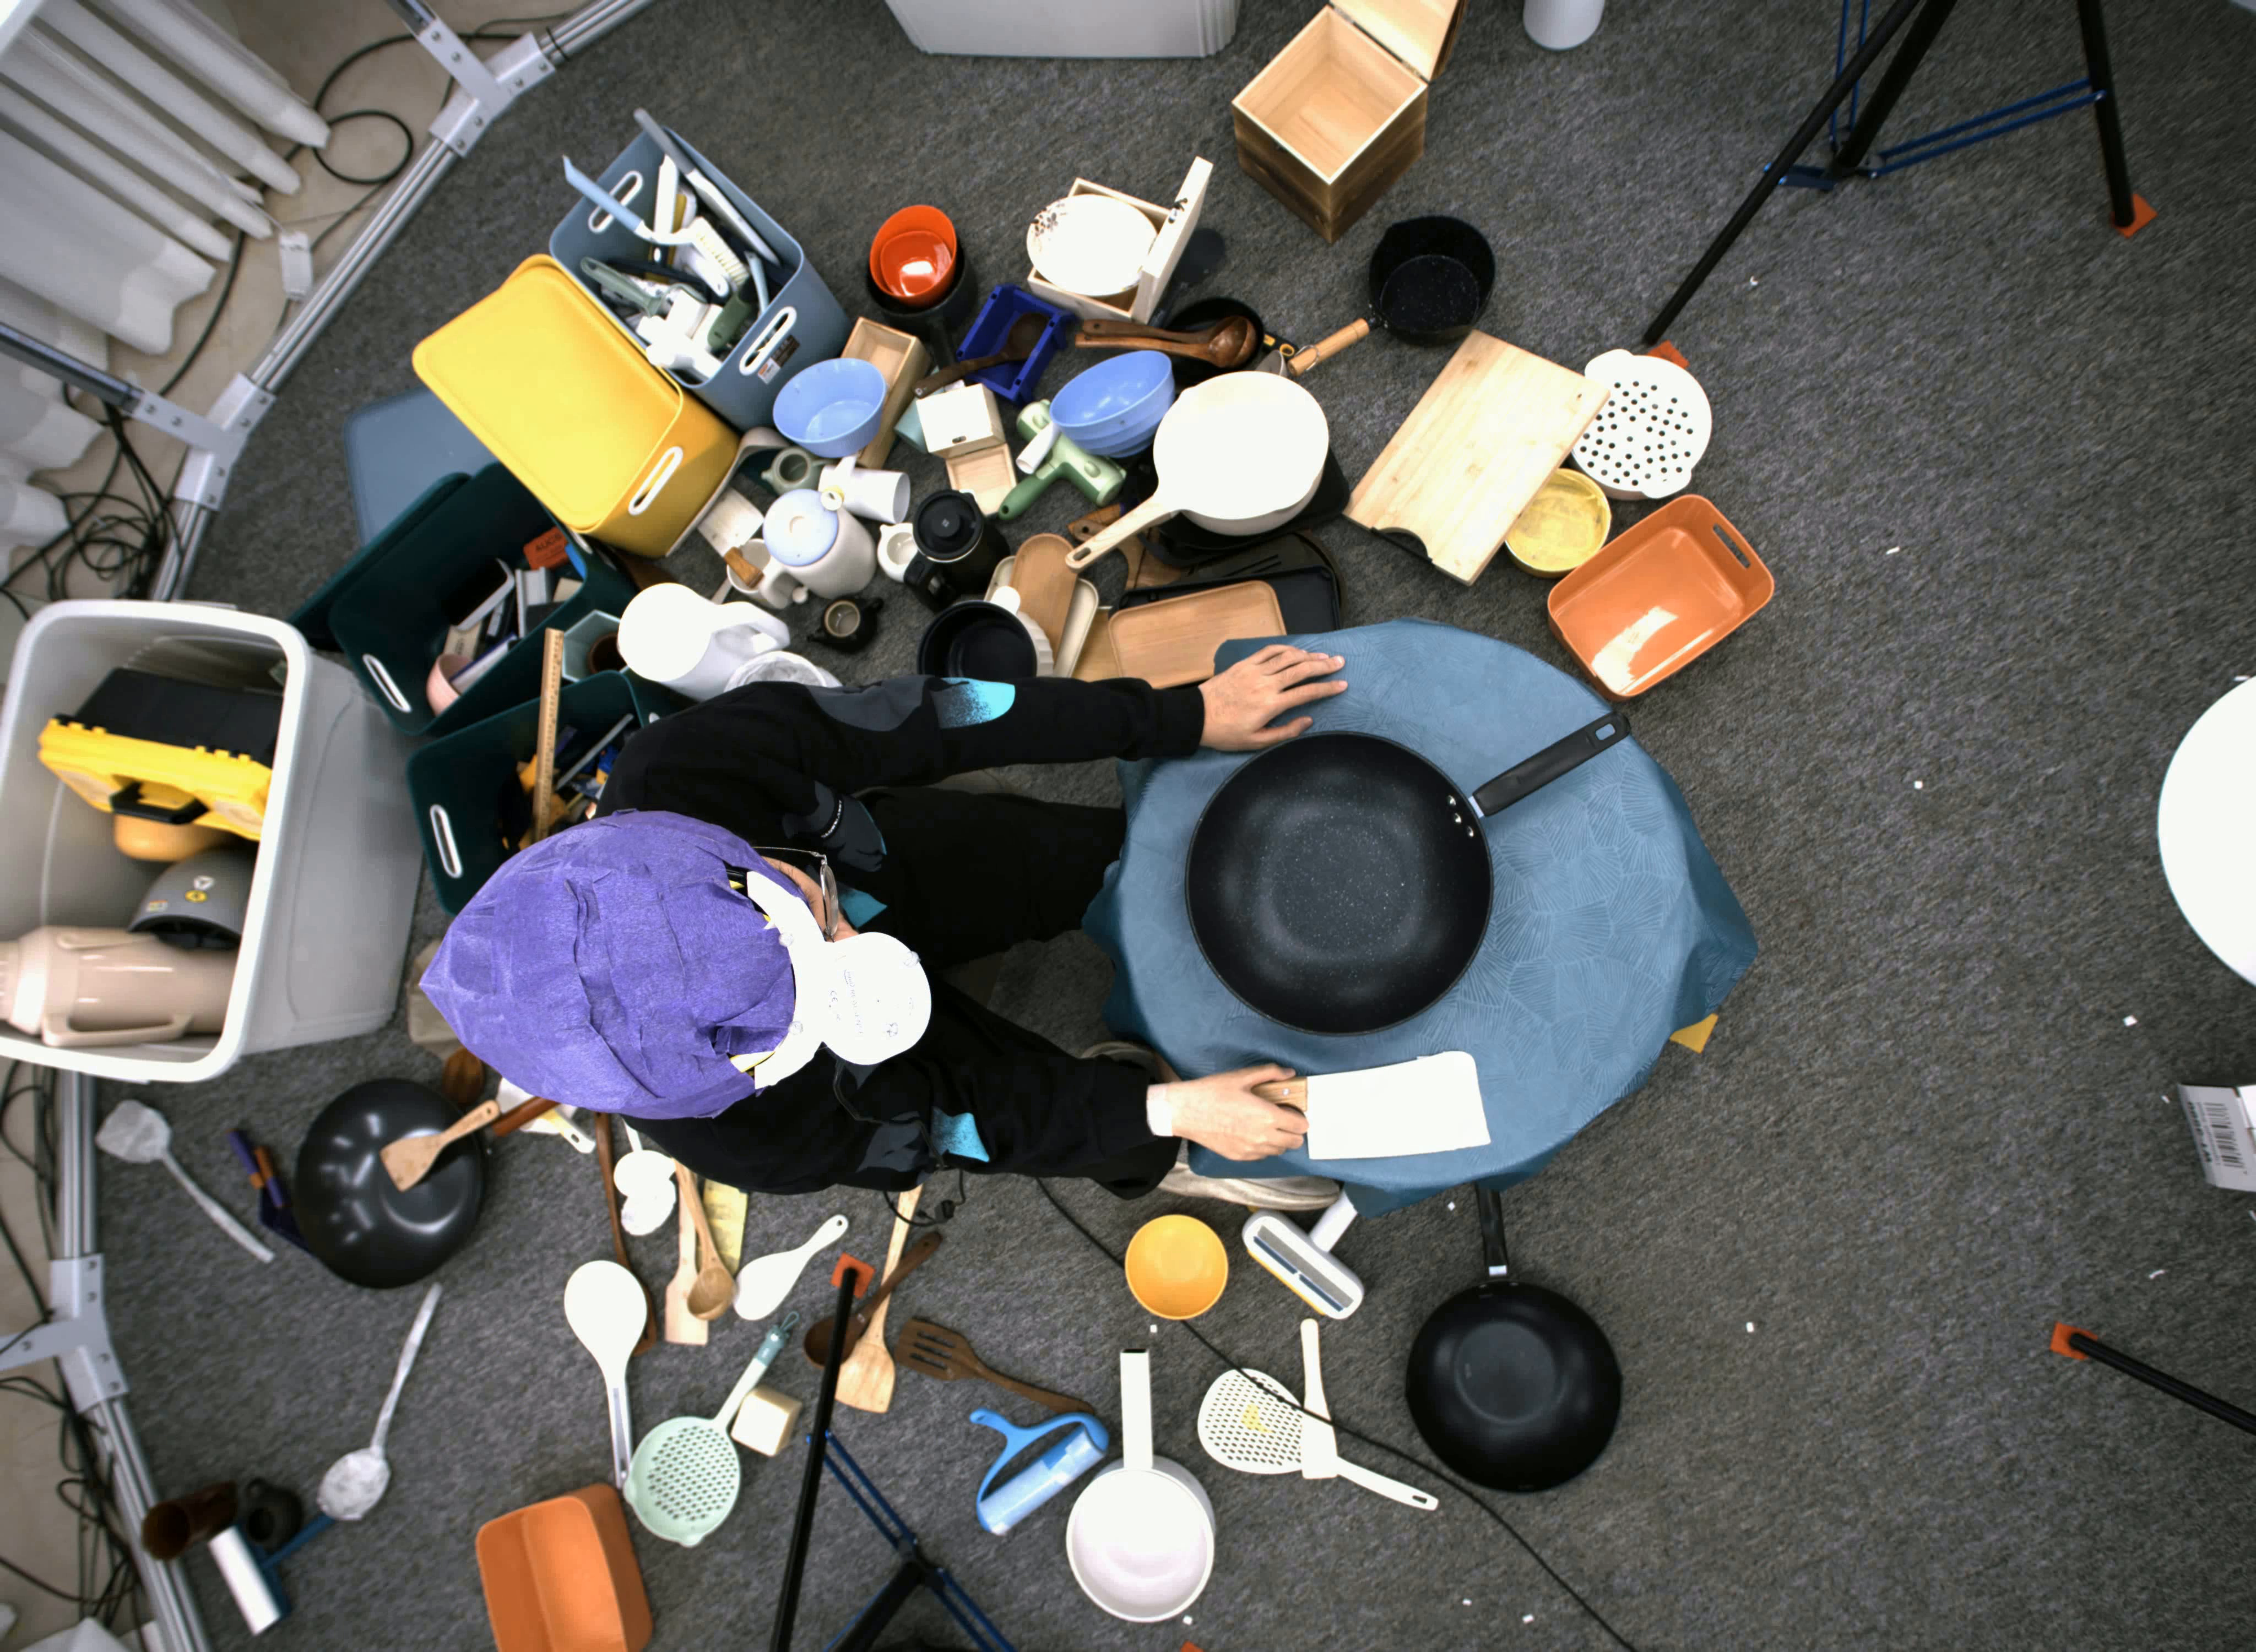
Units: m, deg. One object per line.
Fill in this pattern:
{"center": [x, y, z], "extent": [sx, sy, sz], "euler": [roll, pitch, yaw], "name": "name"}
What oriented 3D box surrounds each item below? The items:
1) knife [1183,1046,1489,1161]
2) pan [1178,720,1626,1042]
{"center": [0.216, 0.291, 1.449], "extent": [0.316, 0.022, 0.113], "euler": [-4, 86, 8], "name": "knife"}
{"center": [0.281, 0.022, 1.407], "extent": [0.479, 0.111, 0.308], "euler": [-30, 84, 8], "name": "pan"}
